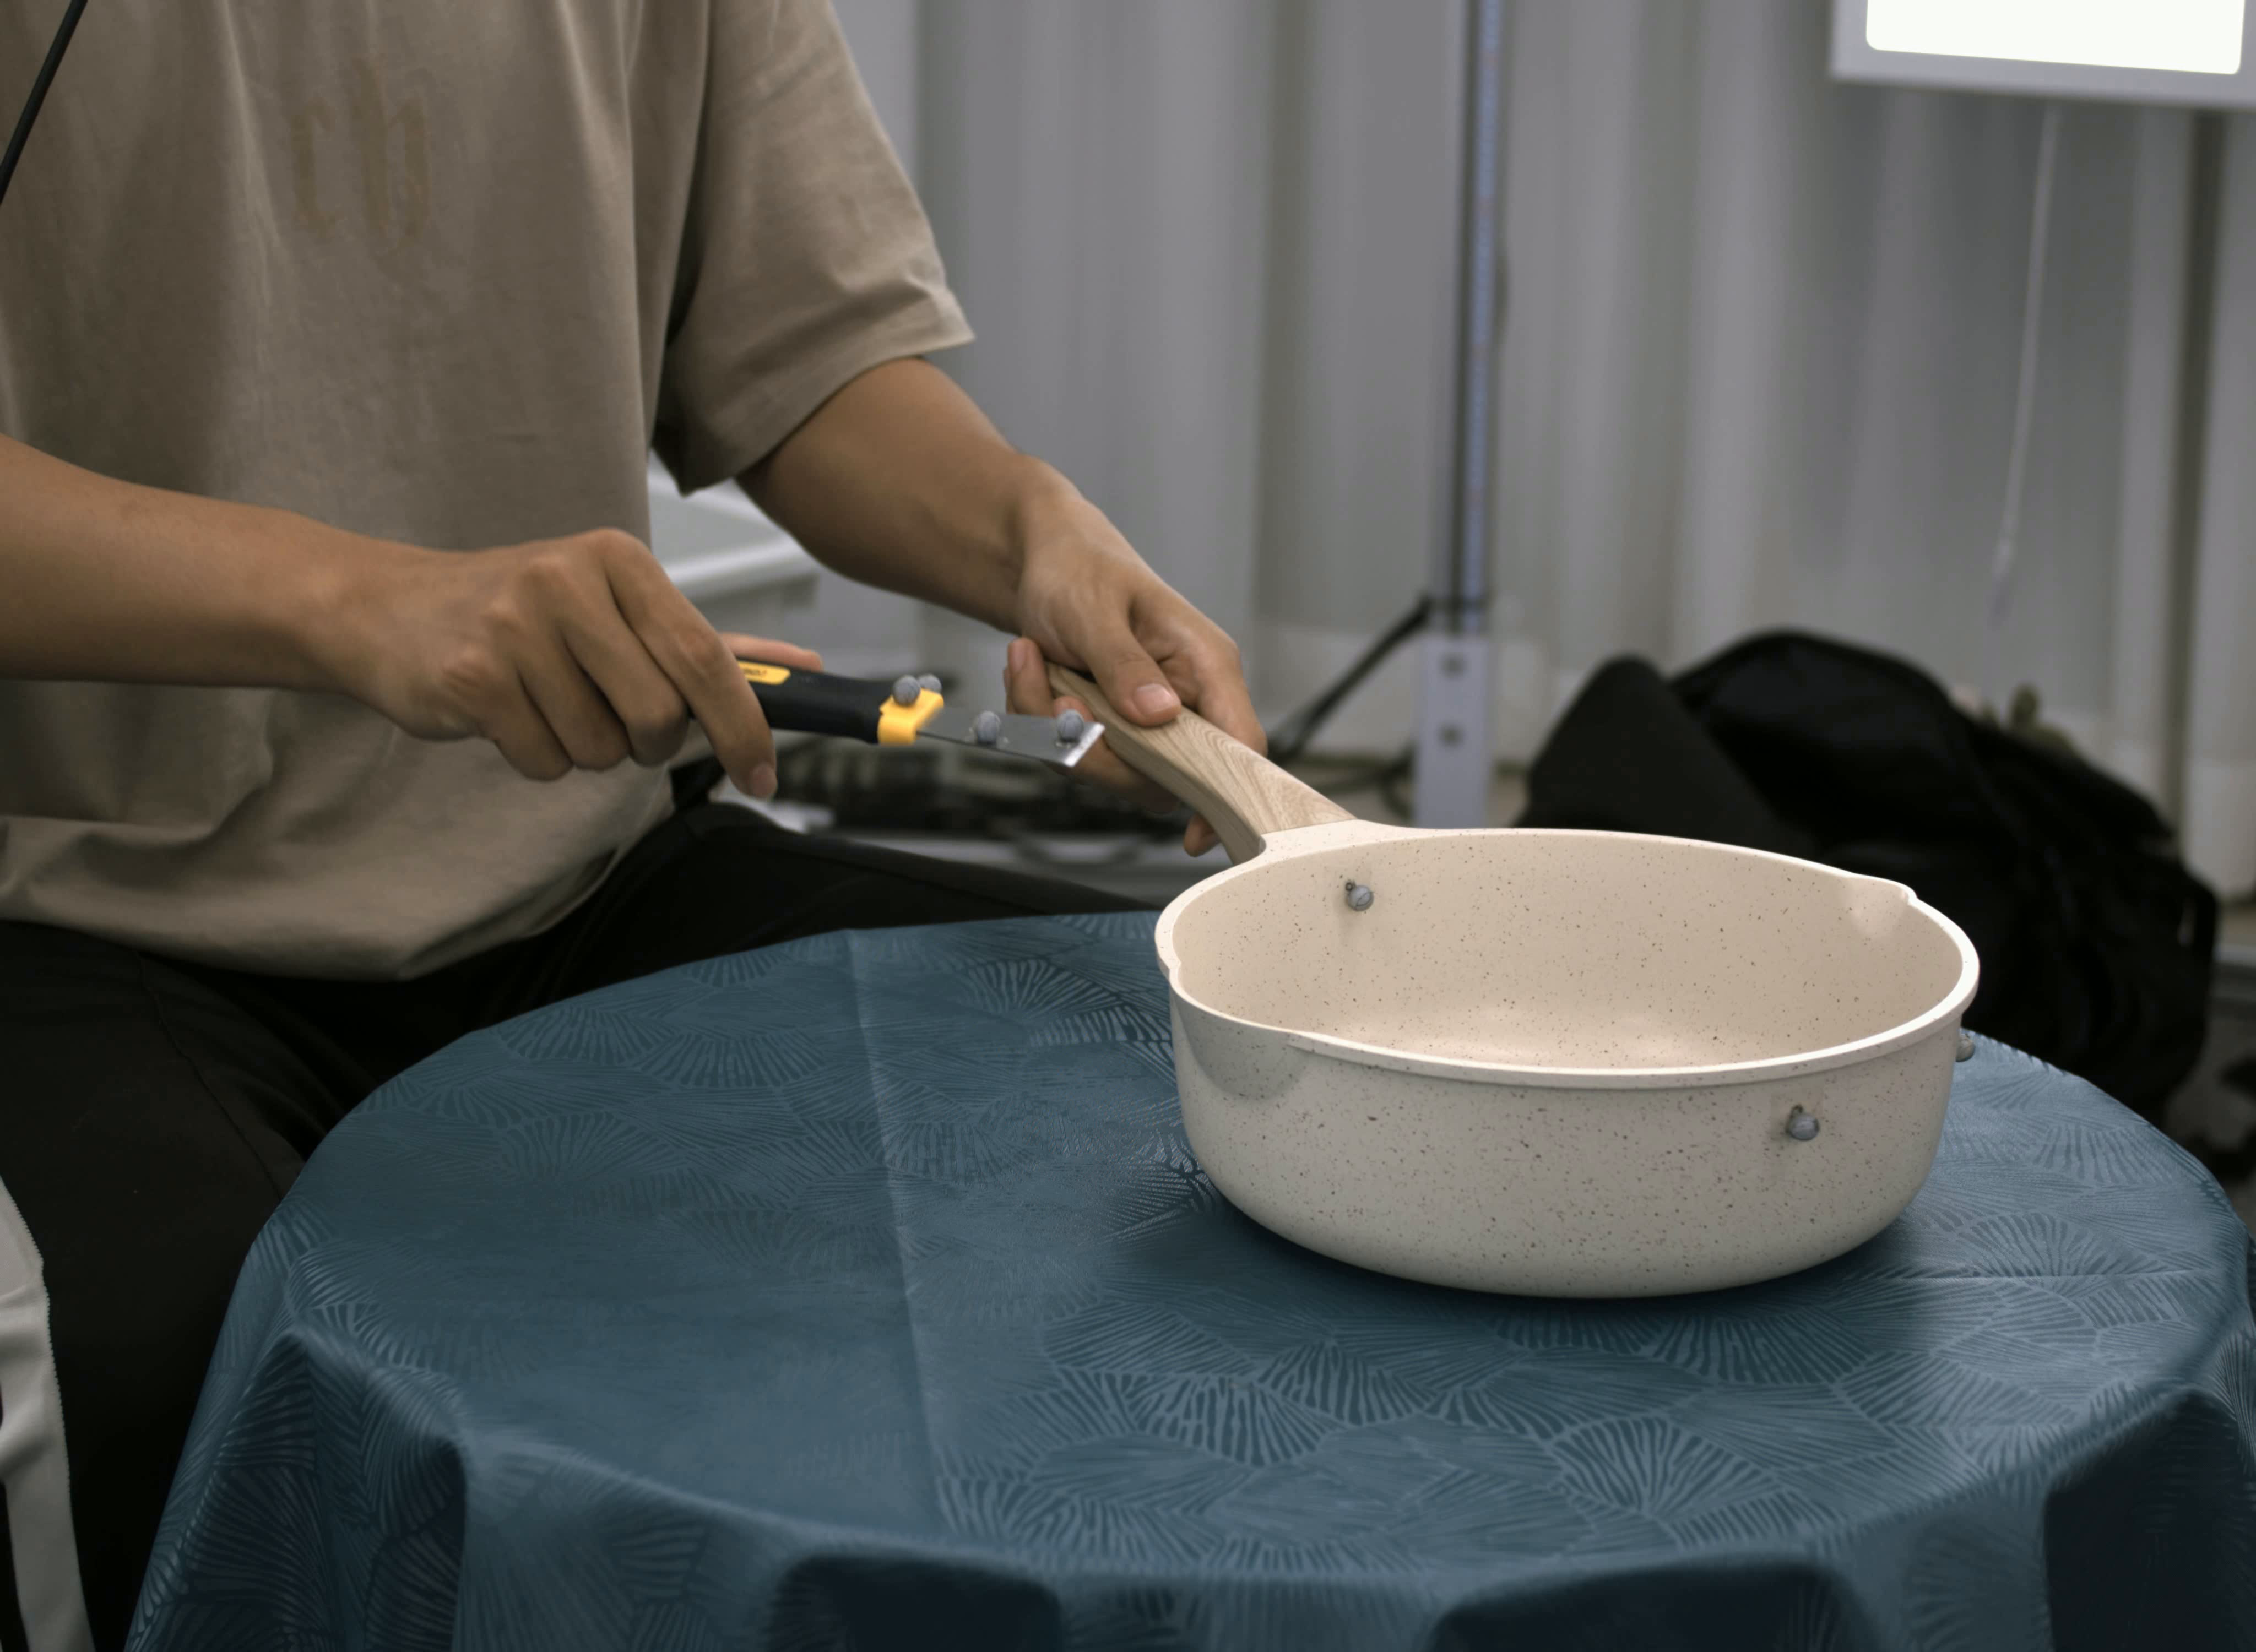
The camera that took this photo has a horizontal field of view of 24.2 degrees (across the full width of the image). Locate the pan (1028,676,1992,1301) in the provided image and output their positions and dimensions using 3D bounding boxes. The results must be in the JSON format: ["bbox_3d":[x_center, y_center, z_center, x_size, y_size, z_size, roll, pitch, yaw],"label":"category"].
[{"bbox_3d":[0.091,0.046,1.694,0.264,0.103,0.429,-12,20,-30],"label":"pan"}]

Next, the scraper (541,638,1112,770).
[{"bbox_3d":[-0.091,-0.035,1.542,0.170,0.015,0.038,8,30,11],"label":"scraper"}]
